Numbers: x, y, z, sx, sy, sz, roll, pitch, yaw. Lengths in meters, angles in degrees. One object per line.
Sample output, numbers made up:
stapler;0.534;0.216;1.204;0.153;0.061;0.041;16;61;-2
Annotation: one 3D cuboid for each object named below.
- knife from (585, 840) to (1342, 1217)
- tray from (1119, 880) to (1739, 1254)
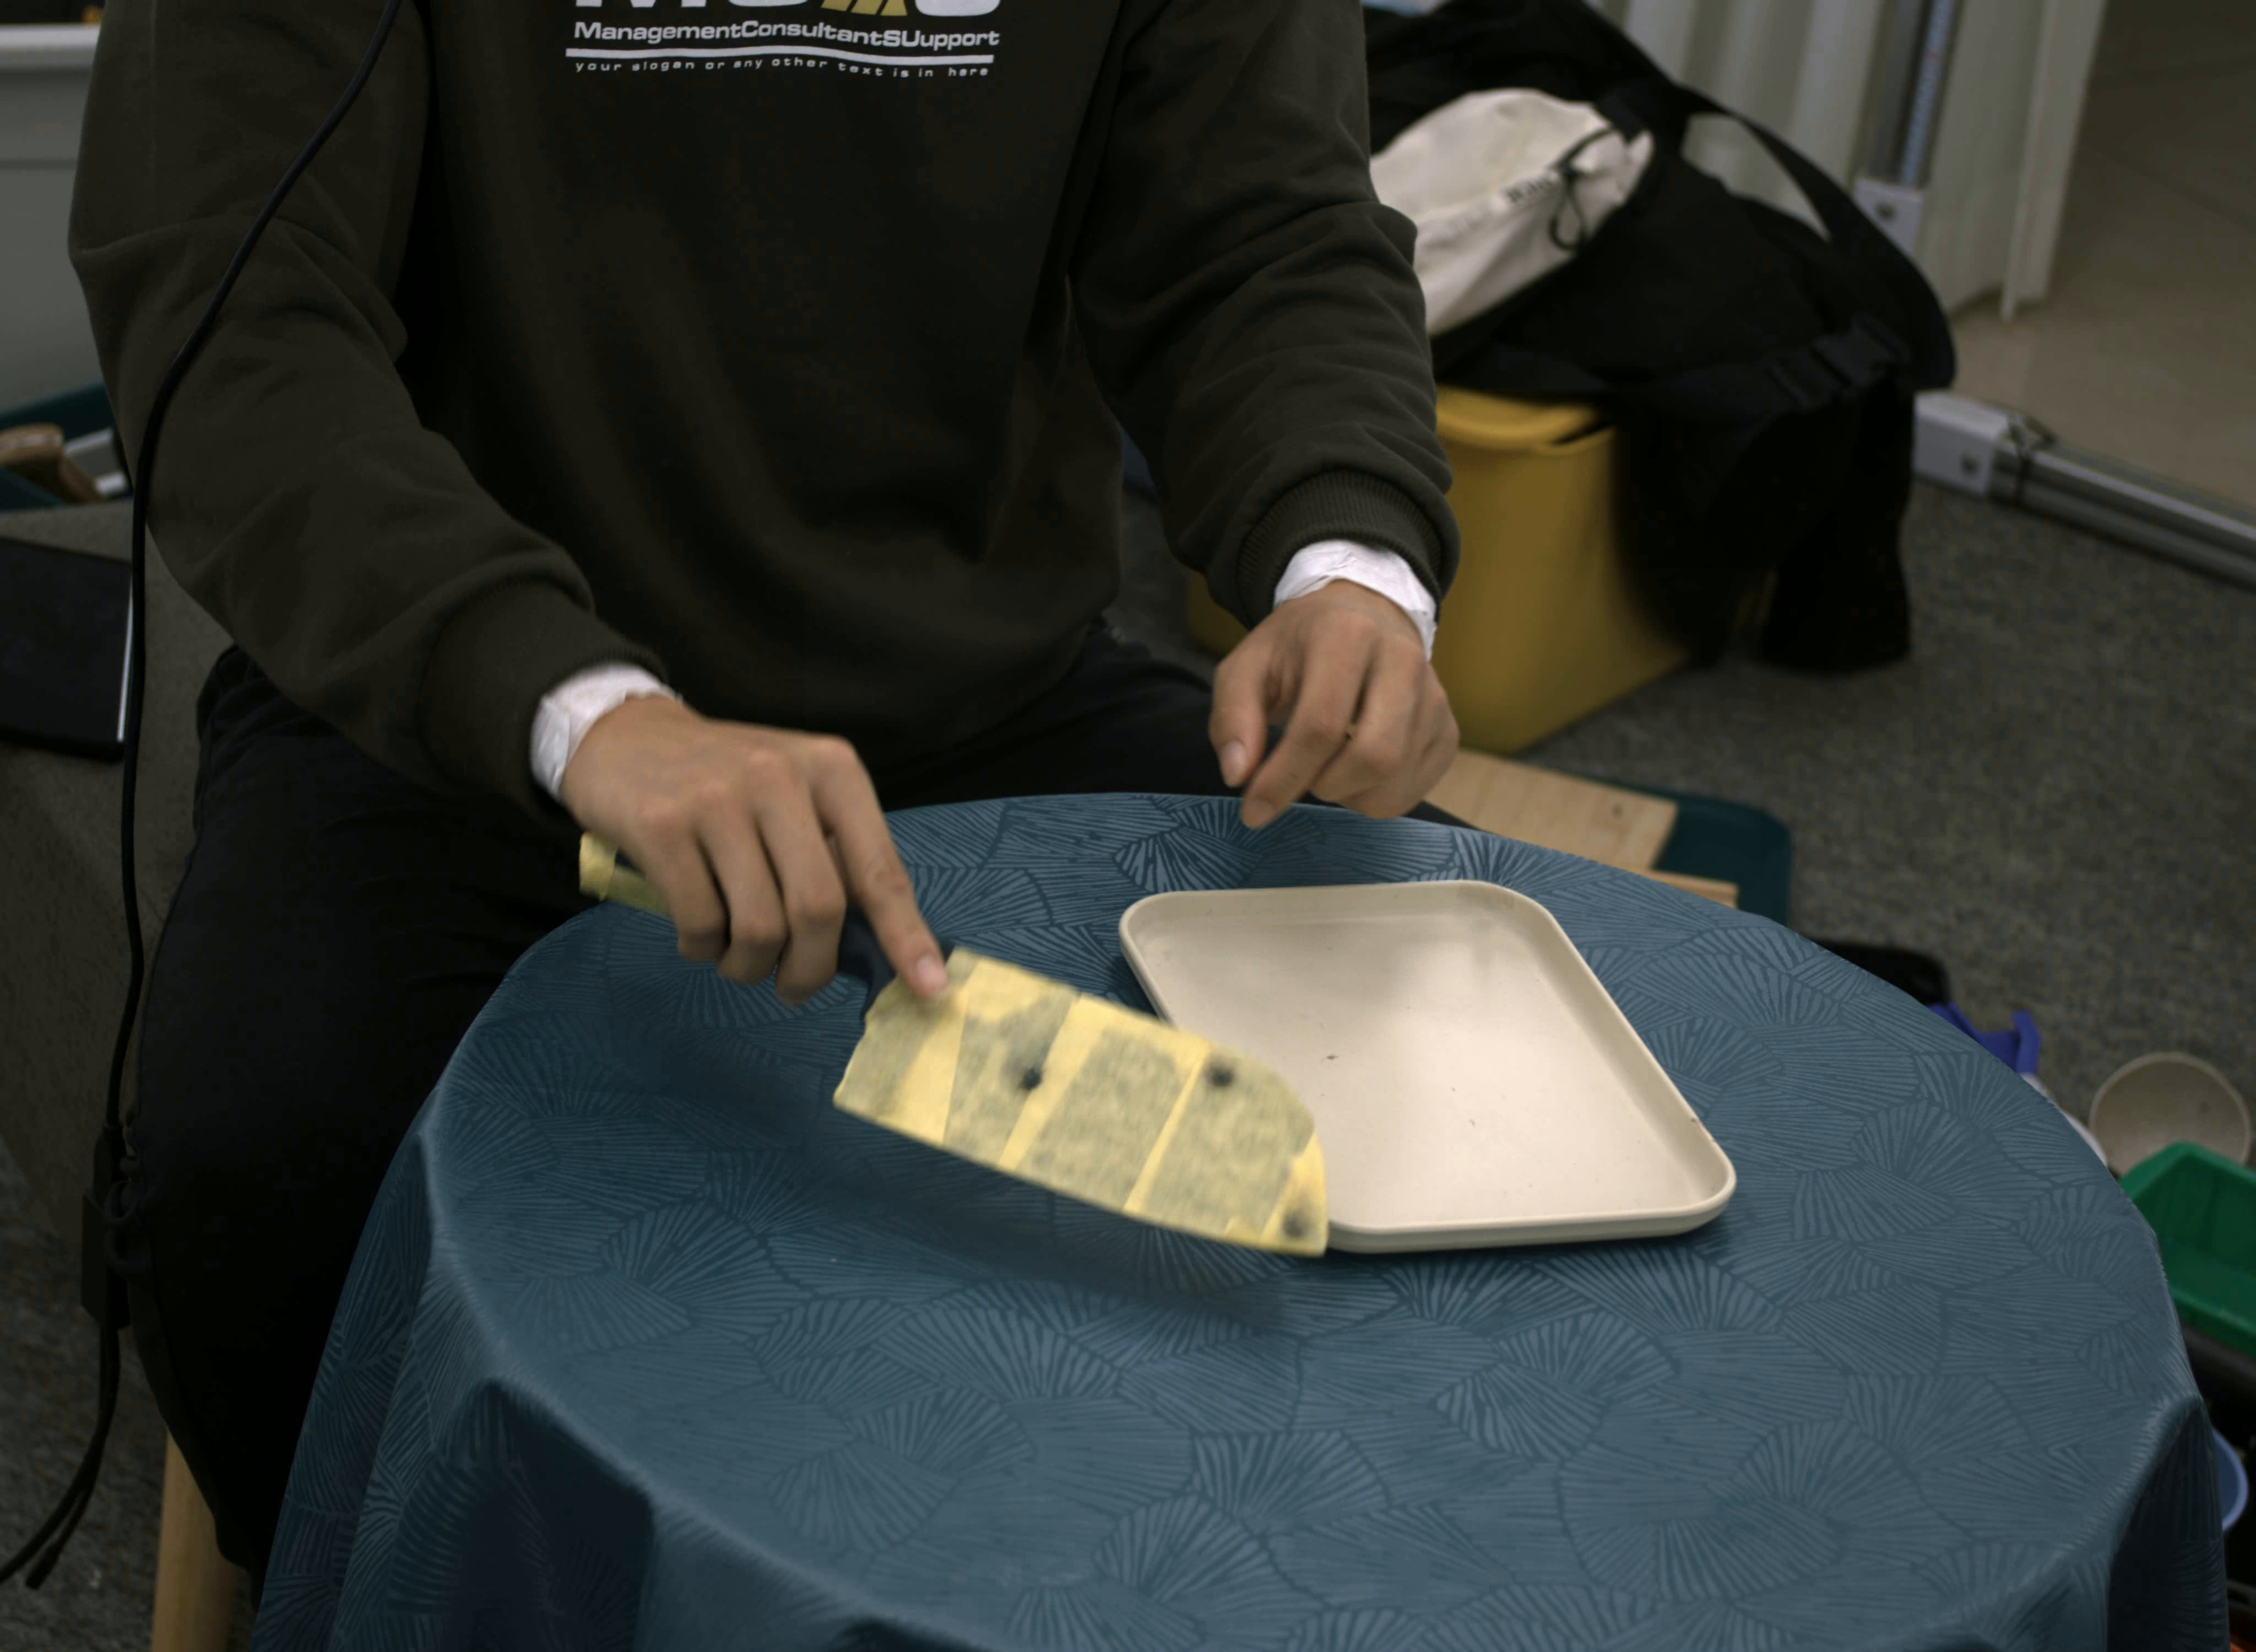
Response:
knife;-0.060;0.067;1.775;0.290;0.027;0.081;20;58;17
tray;0.102;0.084;1.887;0.170;0.017;0.242;-2;28;-17
